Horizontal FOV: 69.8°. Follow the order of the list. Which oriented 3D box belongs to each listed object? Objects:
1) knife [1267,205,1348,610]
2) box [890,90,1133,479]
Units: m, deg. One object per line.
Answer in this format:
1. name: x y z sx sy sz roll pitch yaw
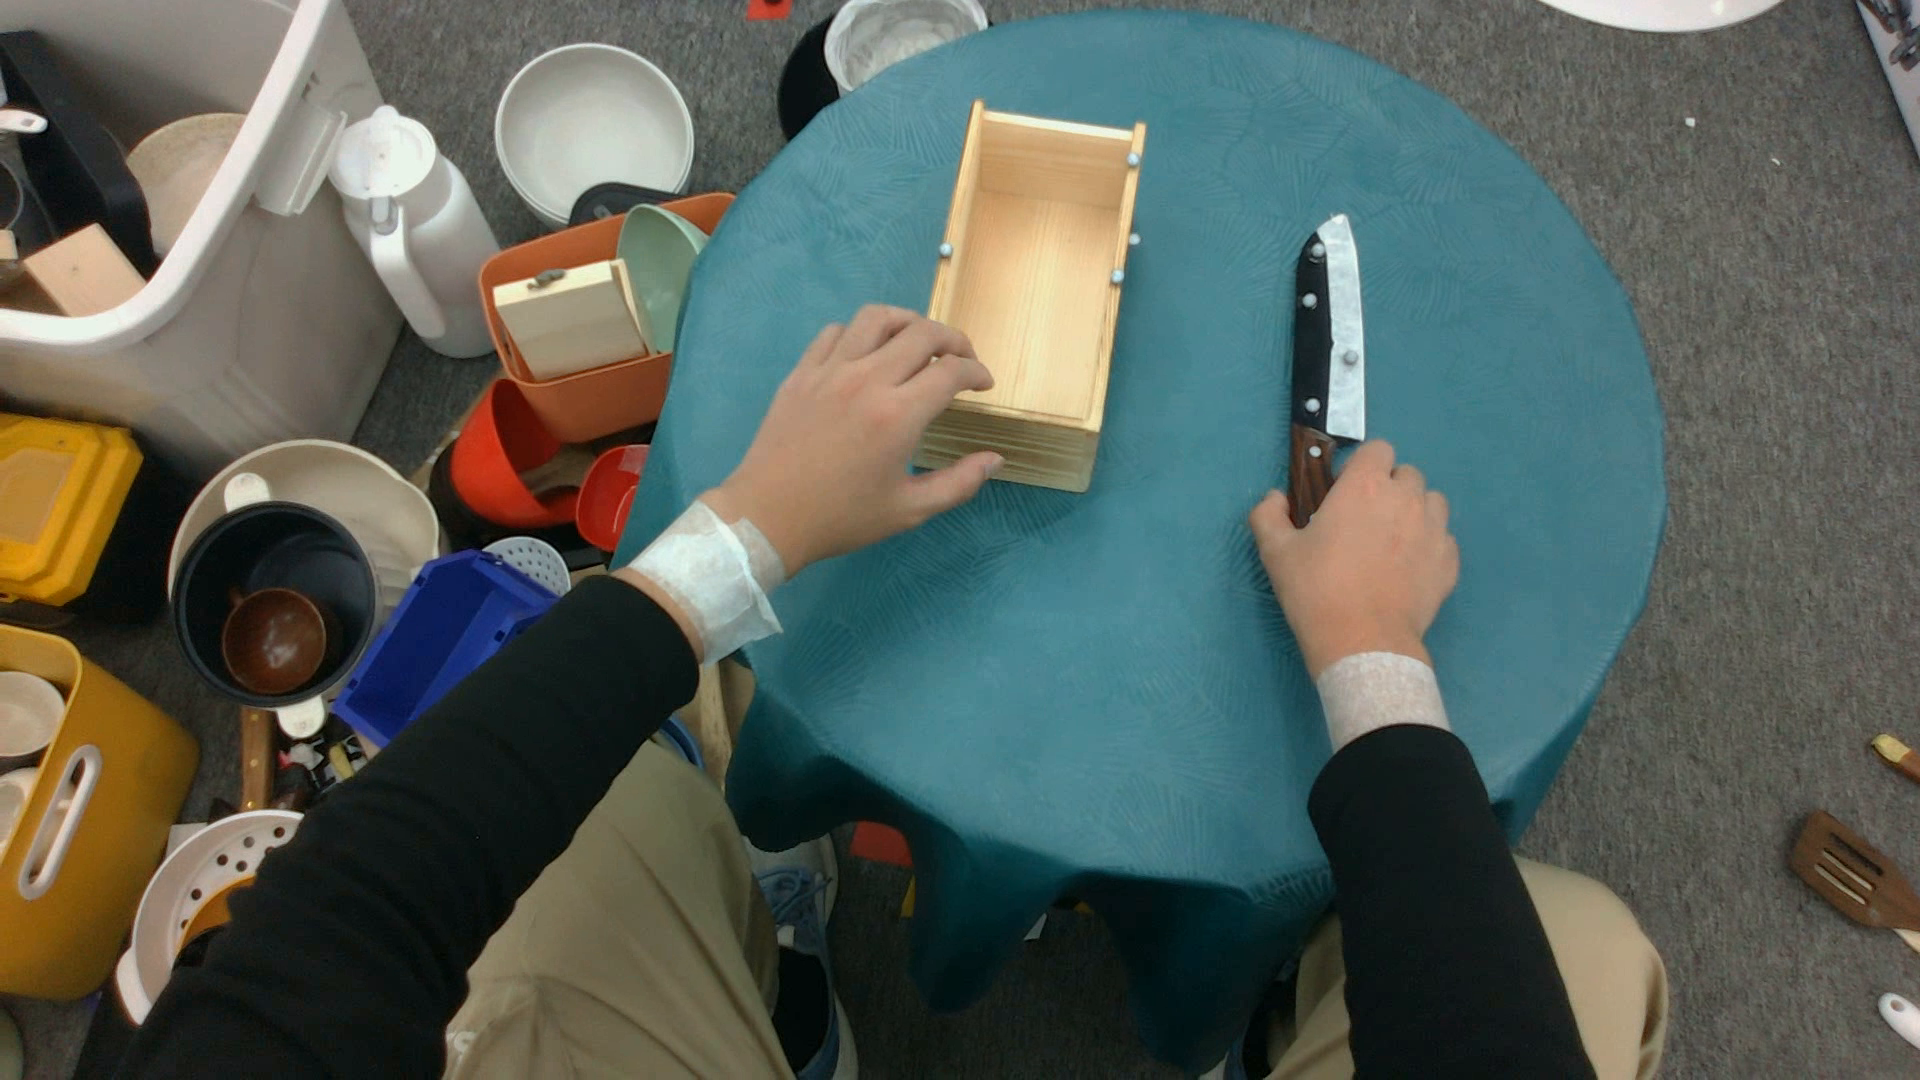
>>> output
1. knife: 0.210 -0.089 0.828 0.050 0.020 0.290 13 64 -4
2. box: 0.032 -0.153 0.816 0.107 0.080 0.212 9 66 3
